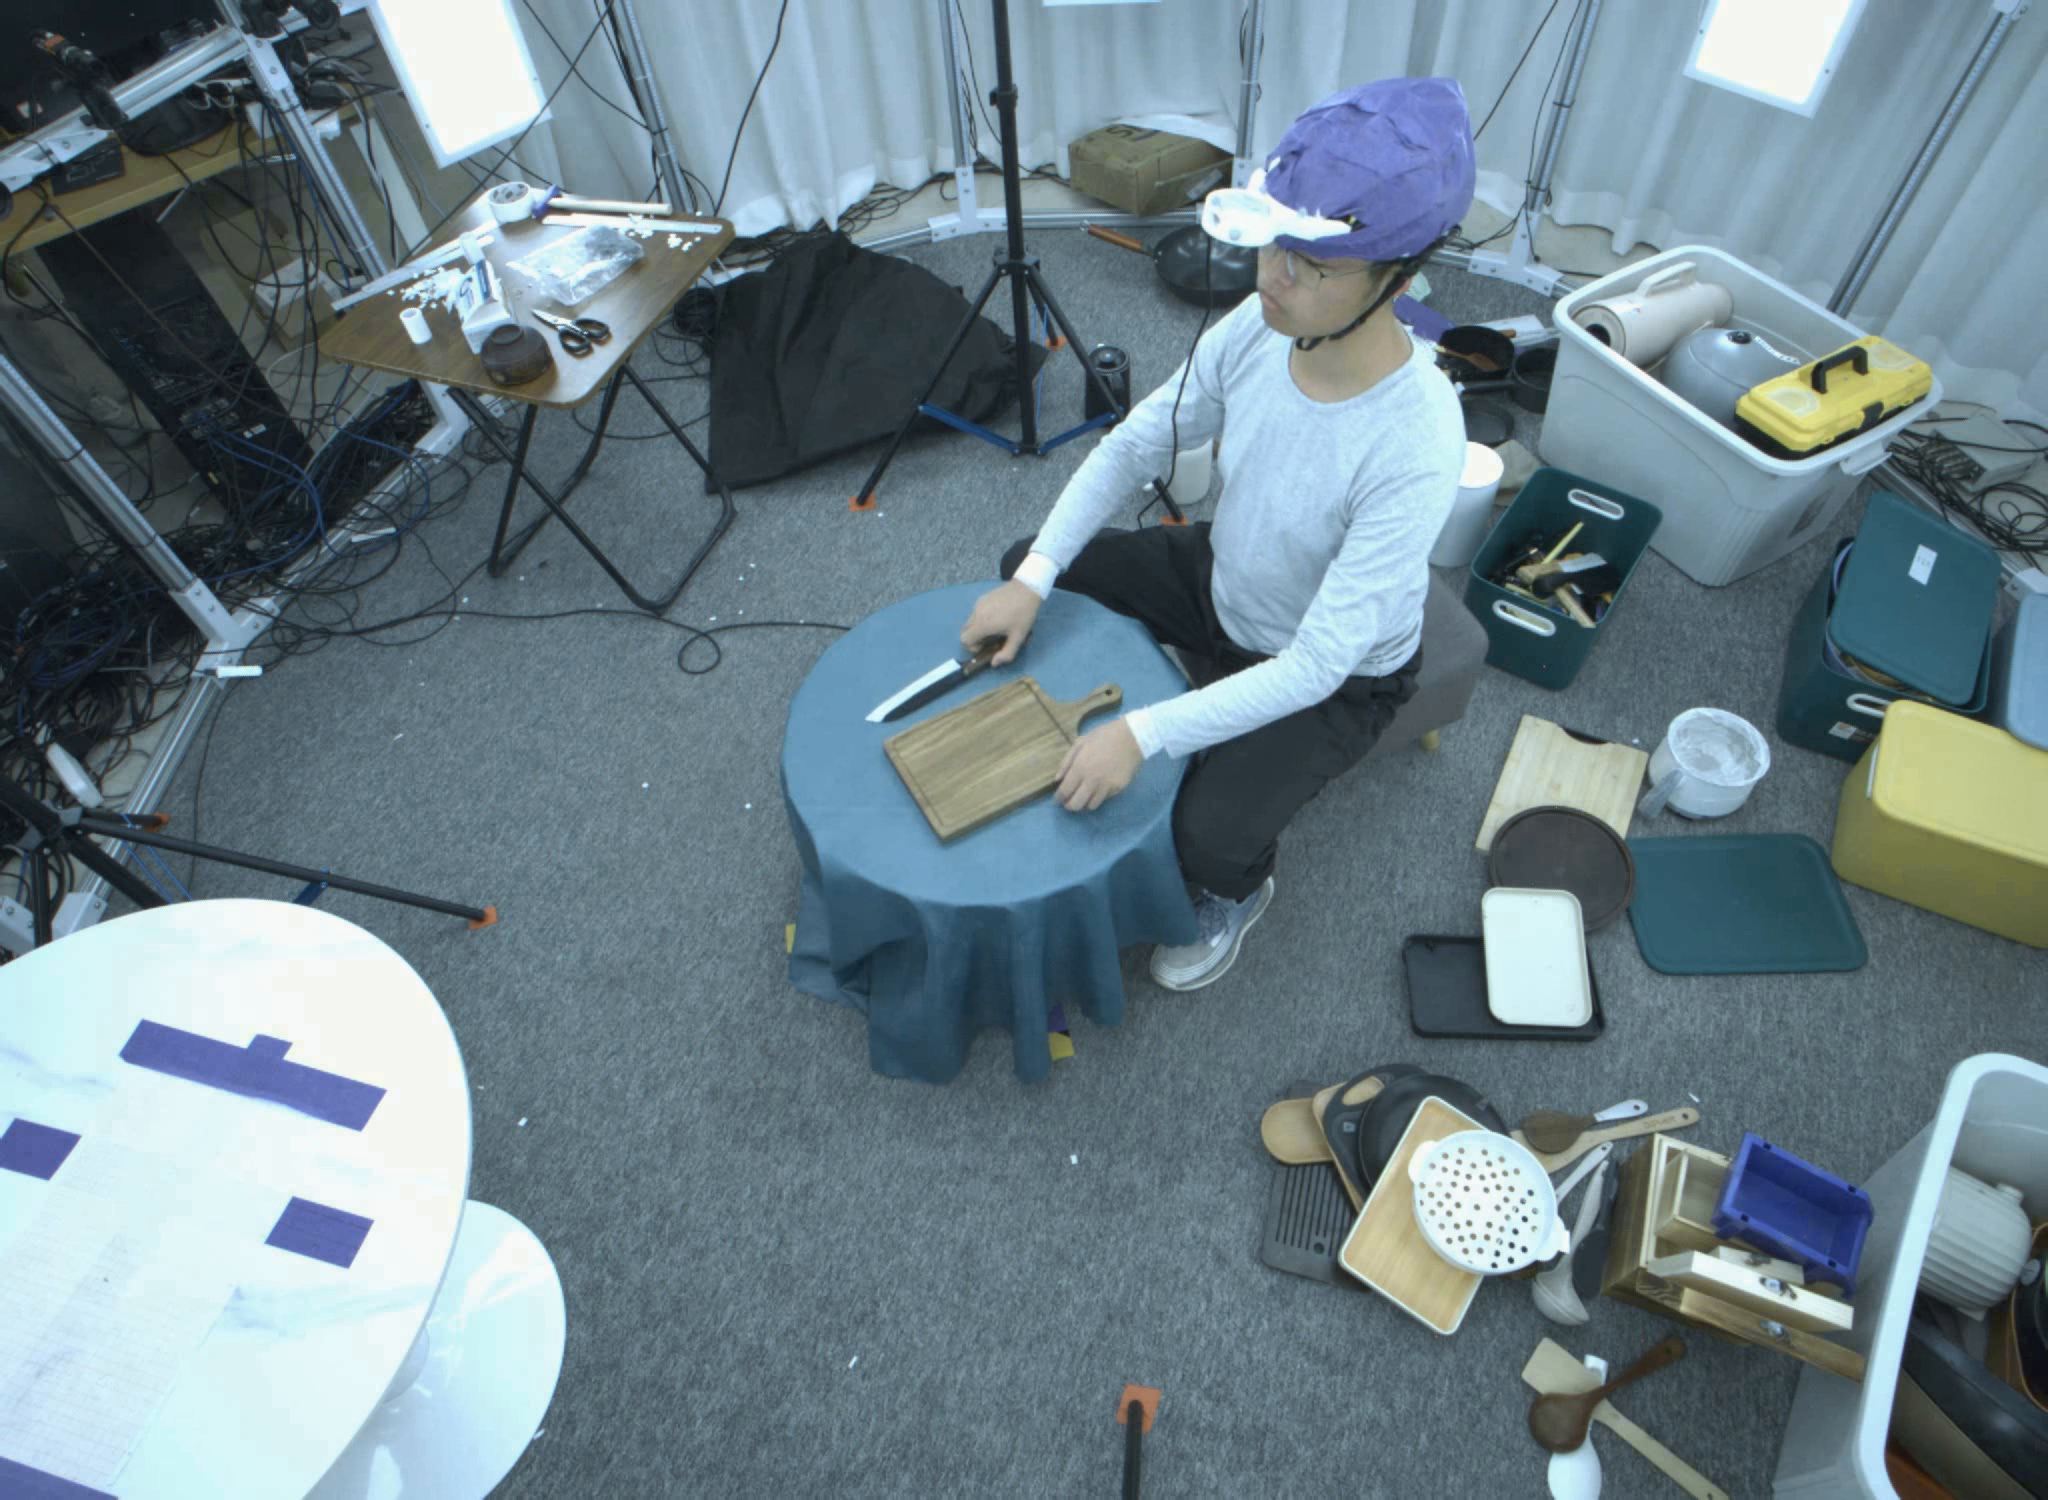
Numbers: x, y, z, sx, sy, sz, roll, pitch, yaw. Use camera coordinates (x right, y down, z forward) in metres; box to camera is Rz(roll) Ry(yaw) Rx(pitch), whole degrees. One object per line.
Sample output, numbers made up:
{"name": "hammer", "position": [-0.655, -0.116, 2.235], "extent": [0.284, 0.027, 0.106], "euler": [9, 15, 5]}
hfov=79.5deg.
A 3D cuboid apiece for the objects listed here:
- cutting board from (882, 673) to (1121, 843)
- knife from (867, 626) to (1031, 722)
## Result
{"name": "cutting board", "position": [-0.010, -0.015, 1.793], "extent": [0.355, 0.023, 0.197], "euler": [-26, 58, -16]}
{"name": "knife", "position": [-0.114, -0.114, 1.870], "extent": [0.291, 0.020, 0.049], "euler": [-30, 55, -16]}
